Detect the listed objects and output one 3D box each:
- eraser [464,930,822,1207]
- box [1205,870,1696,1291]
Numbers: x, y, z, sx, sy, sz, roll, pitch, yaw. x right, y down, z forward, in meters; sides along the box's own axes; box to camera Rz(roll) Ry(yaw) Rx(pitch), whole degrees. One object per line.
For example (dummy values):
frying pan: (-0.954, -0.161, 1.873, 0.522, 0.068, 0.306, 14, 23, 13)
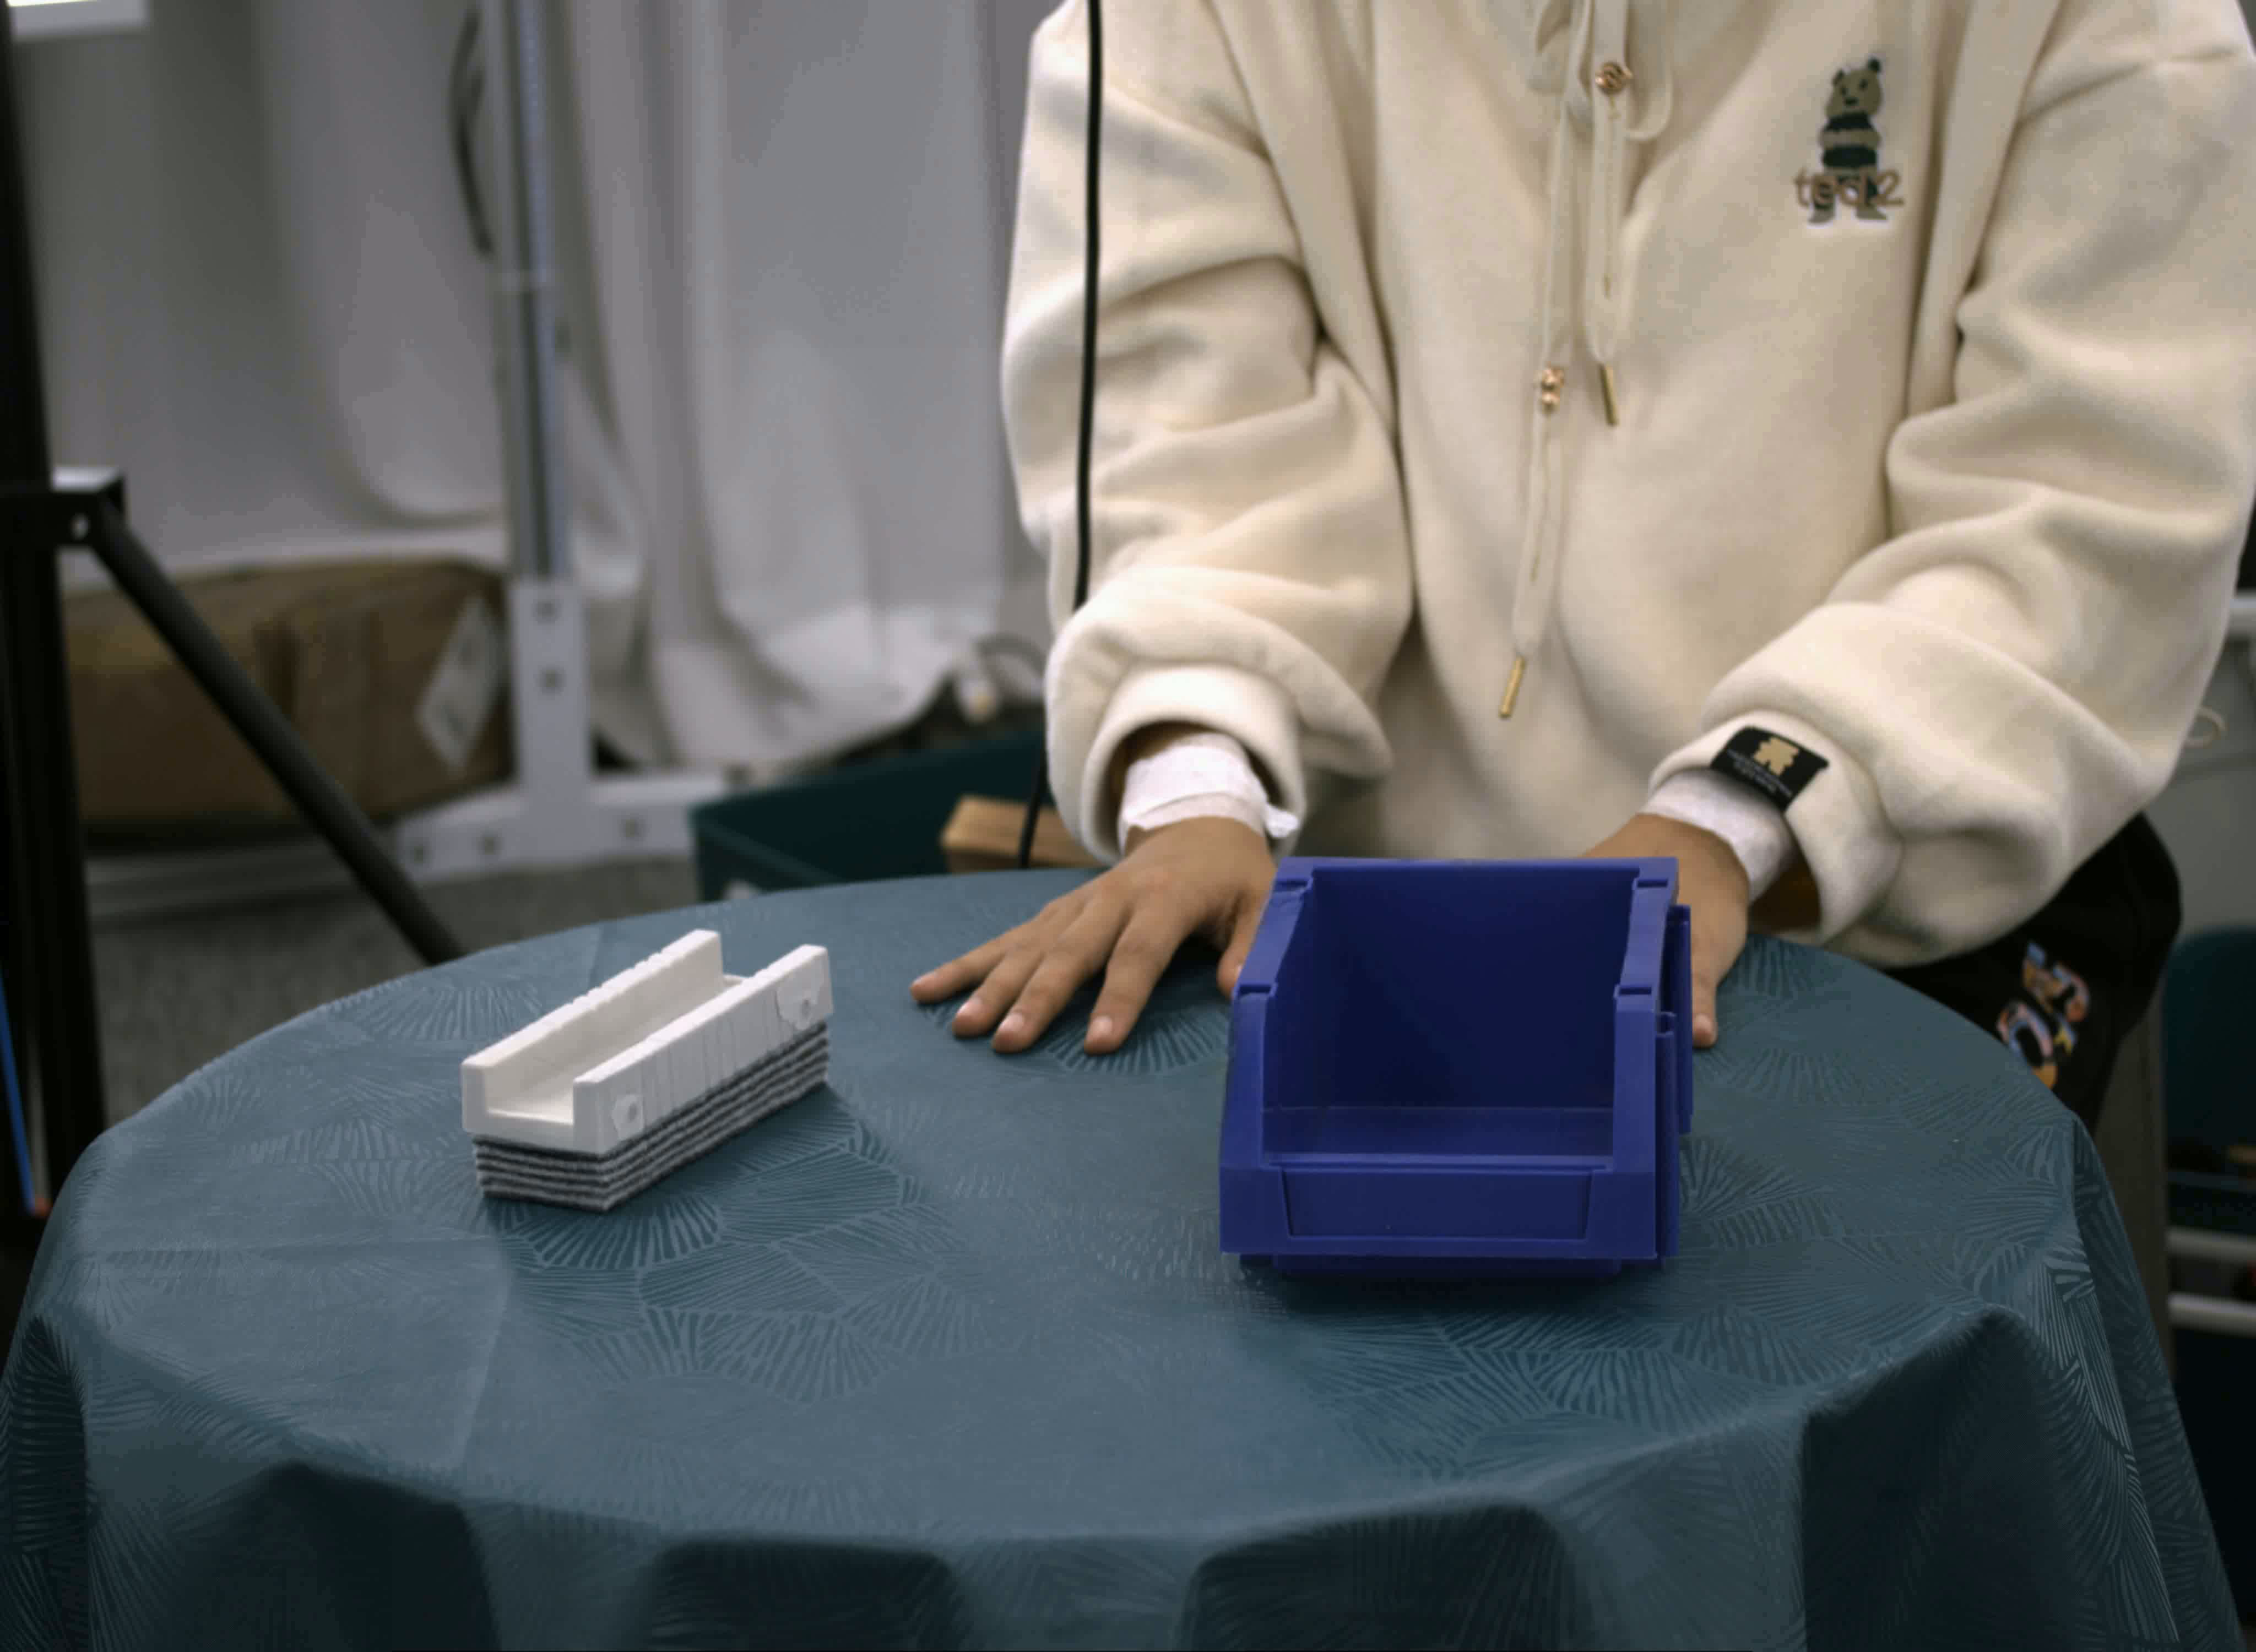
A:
eraser: (-0.145, 0.072, 1.621, 0.050, 0.046, 0.132, 4, 19, 26)
box: (0.096, 0.075, 1.510, 0.125, 0.082, 0.178, 1, 14, 10)
